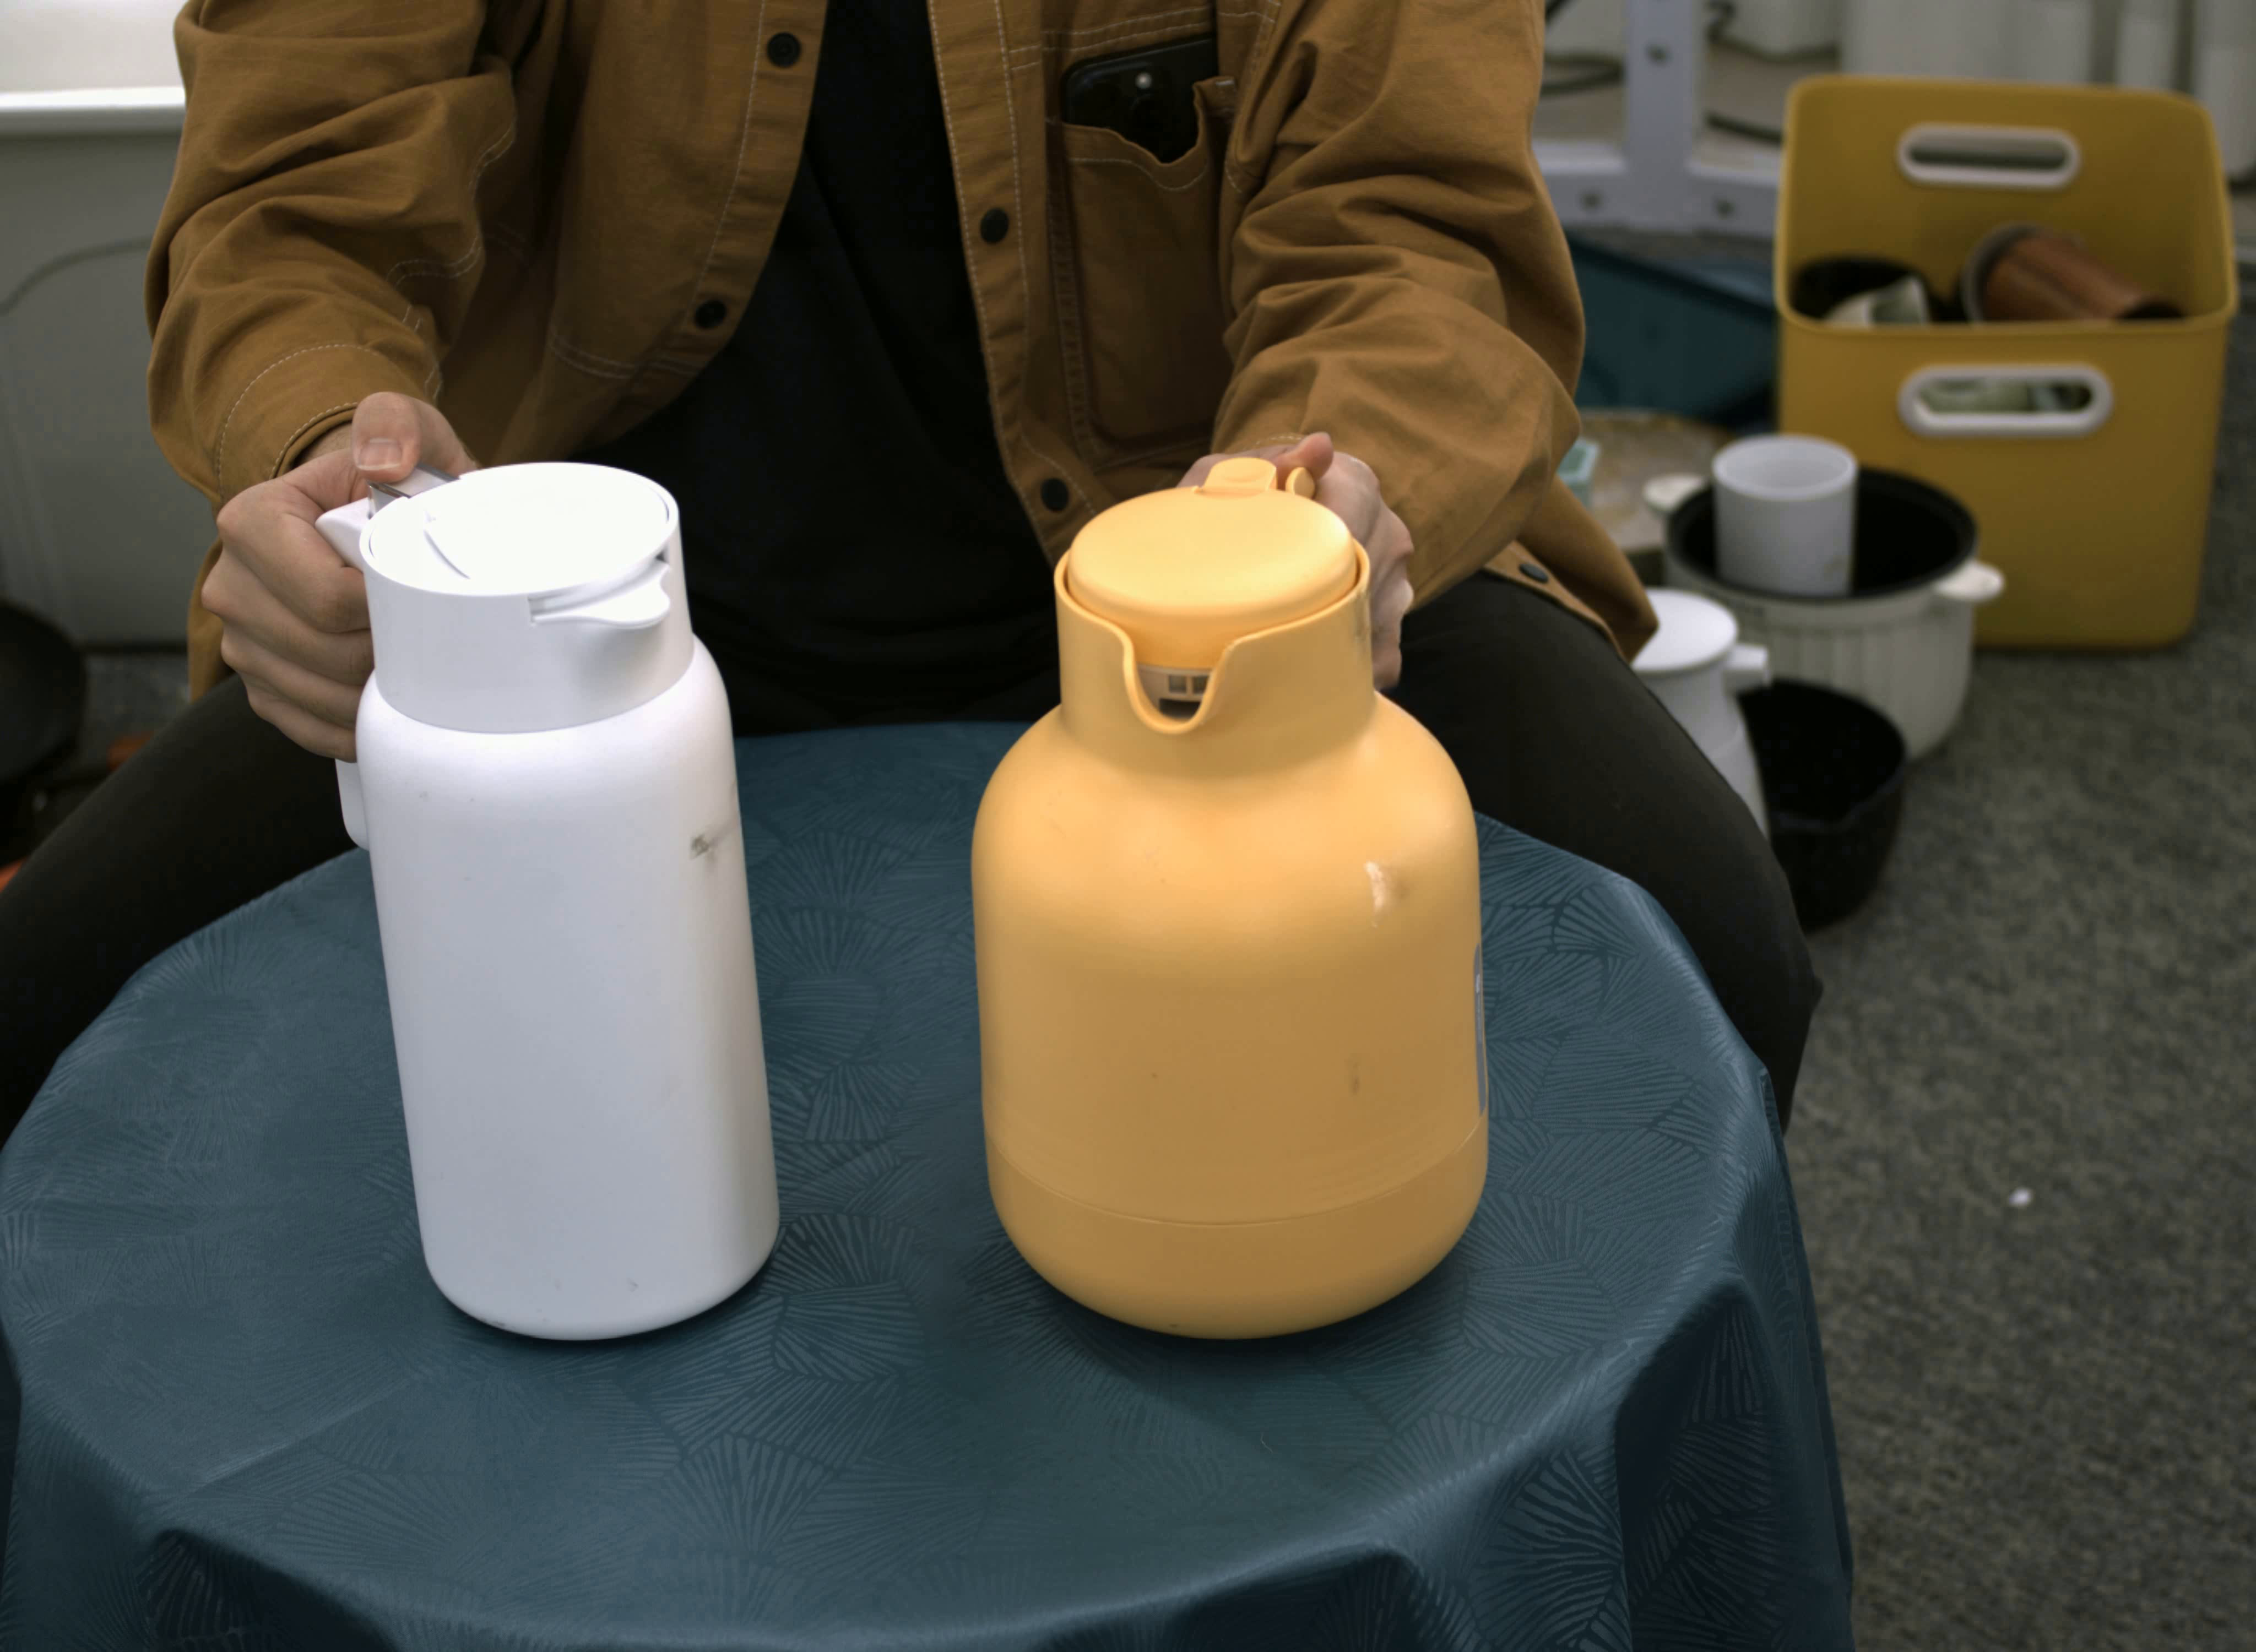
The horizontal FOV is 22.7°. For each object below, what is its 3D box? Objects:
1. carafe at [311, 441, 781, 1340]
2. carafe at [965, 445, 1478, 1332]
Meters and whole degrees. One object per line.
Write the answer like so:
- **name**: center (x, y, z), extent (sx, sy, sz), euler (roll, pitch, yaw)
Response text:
- **carafe**: center (-0.191, 0.018, 1.789), extent (0.125, 0.266, 0.172), euler (-26, 33, -35)
- **carafe**: center (0.035, 0.010, 1.787), extent (0.162, 0.257, 0.206), euler (6, 29, 12)
